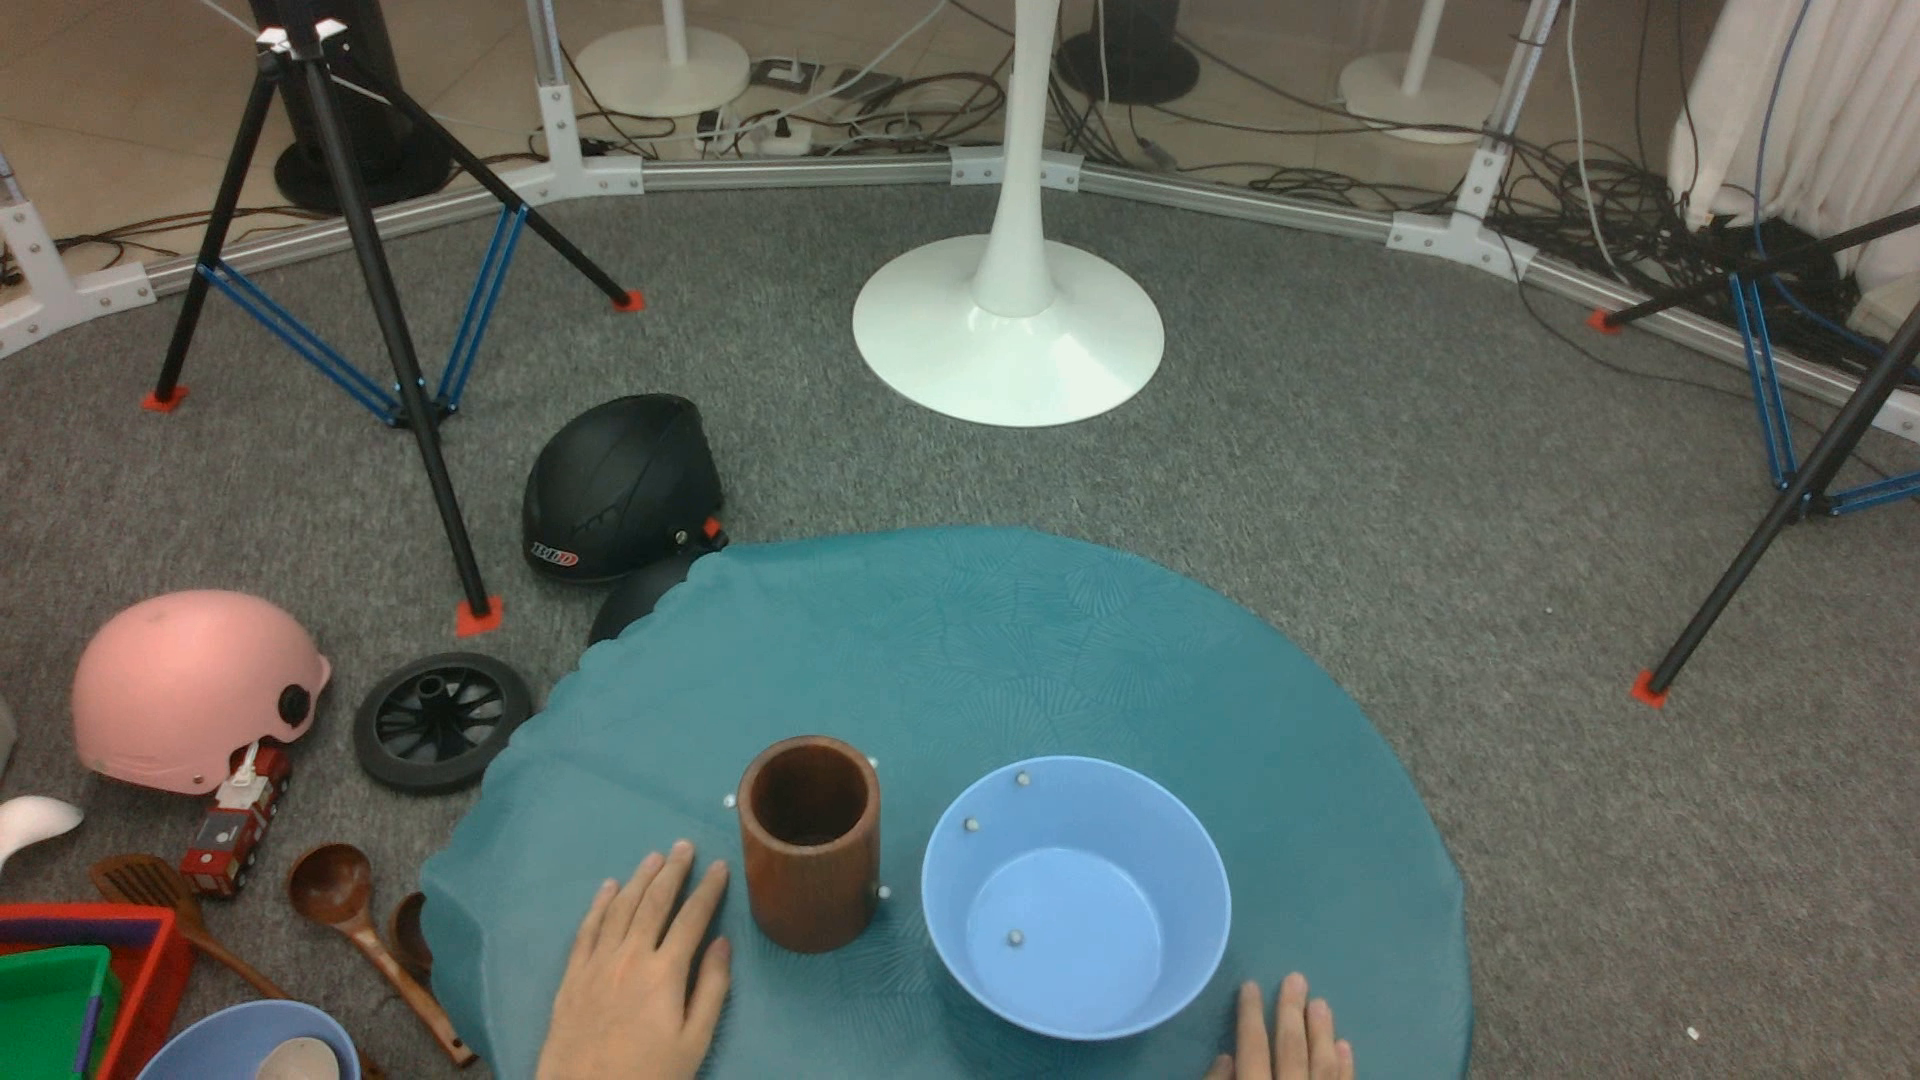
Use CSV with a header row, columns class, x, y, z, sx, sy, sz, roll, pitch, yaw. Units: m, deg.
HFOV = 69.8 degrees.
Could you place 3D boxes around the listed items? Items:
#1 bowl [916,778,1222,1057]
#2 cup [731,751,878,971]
class,x,y,z,sx,sy,sz,roll,pitch,yaw
bowl,0.061,0.232,0.812,0.176,0.070,0.177,2,46,-2
cup,-0.088,0.190,0.810,0.088,0.118,0.088,1,47,-1
